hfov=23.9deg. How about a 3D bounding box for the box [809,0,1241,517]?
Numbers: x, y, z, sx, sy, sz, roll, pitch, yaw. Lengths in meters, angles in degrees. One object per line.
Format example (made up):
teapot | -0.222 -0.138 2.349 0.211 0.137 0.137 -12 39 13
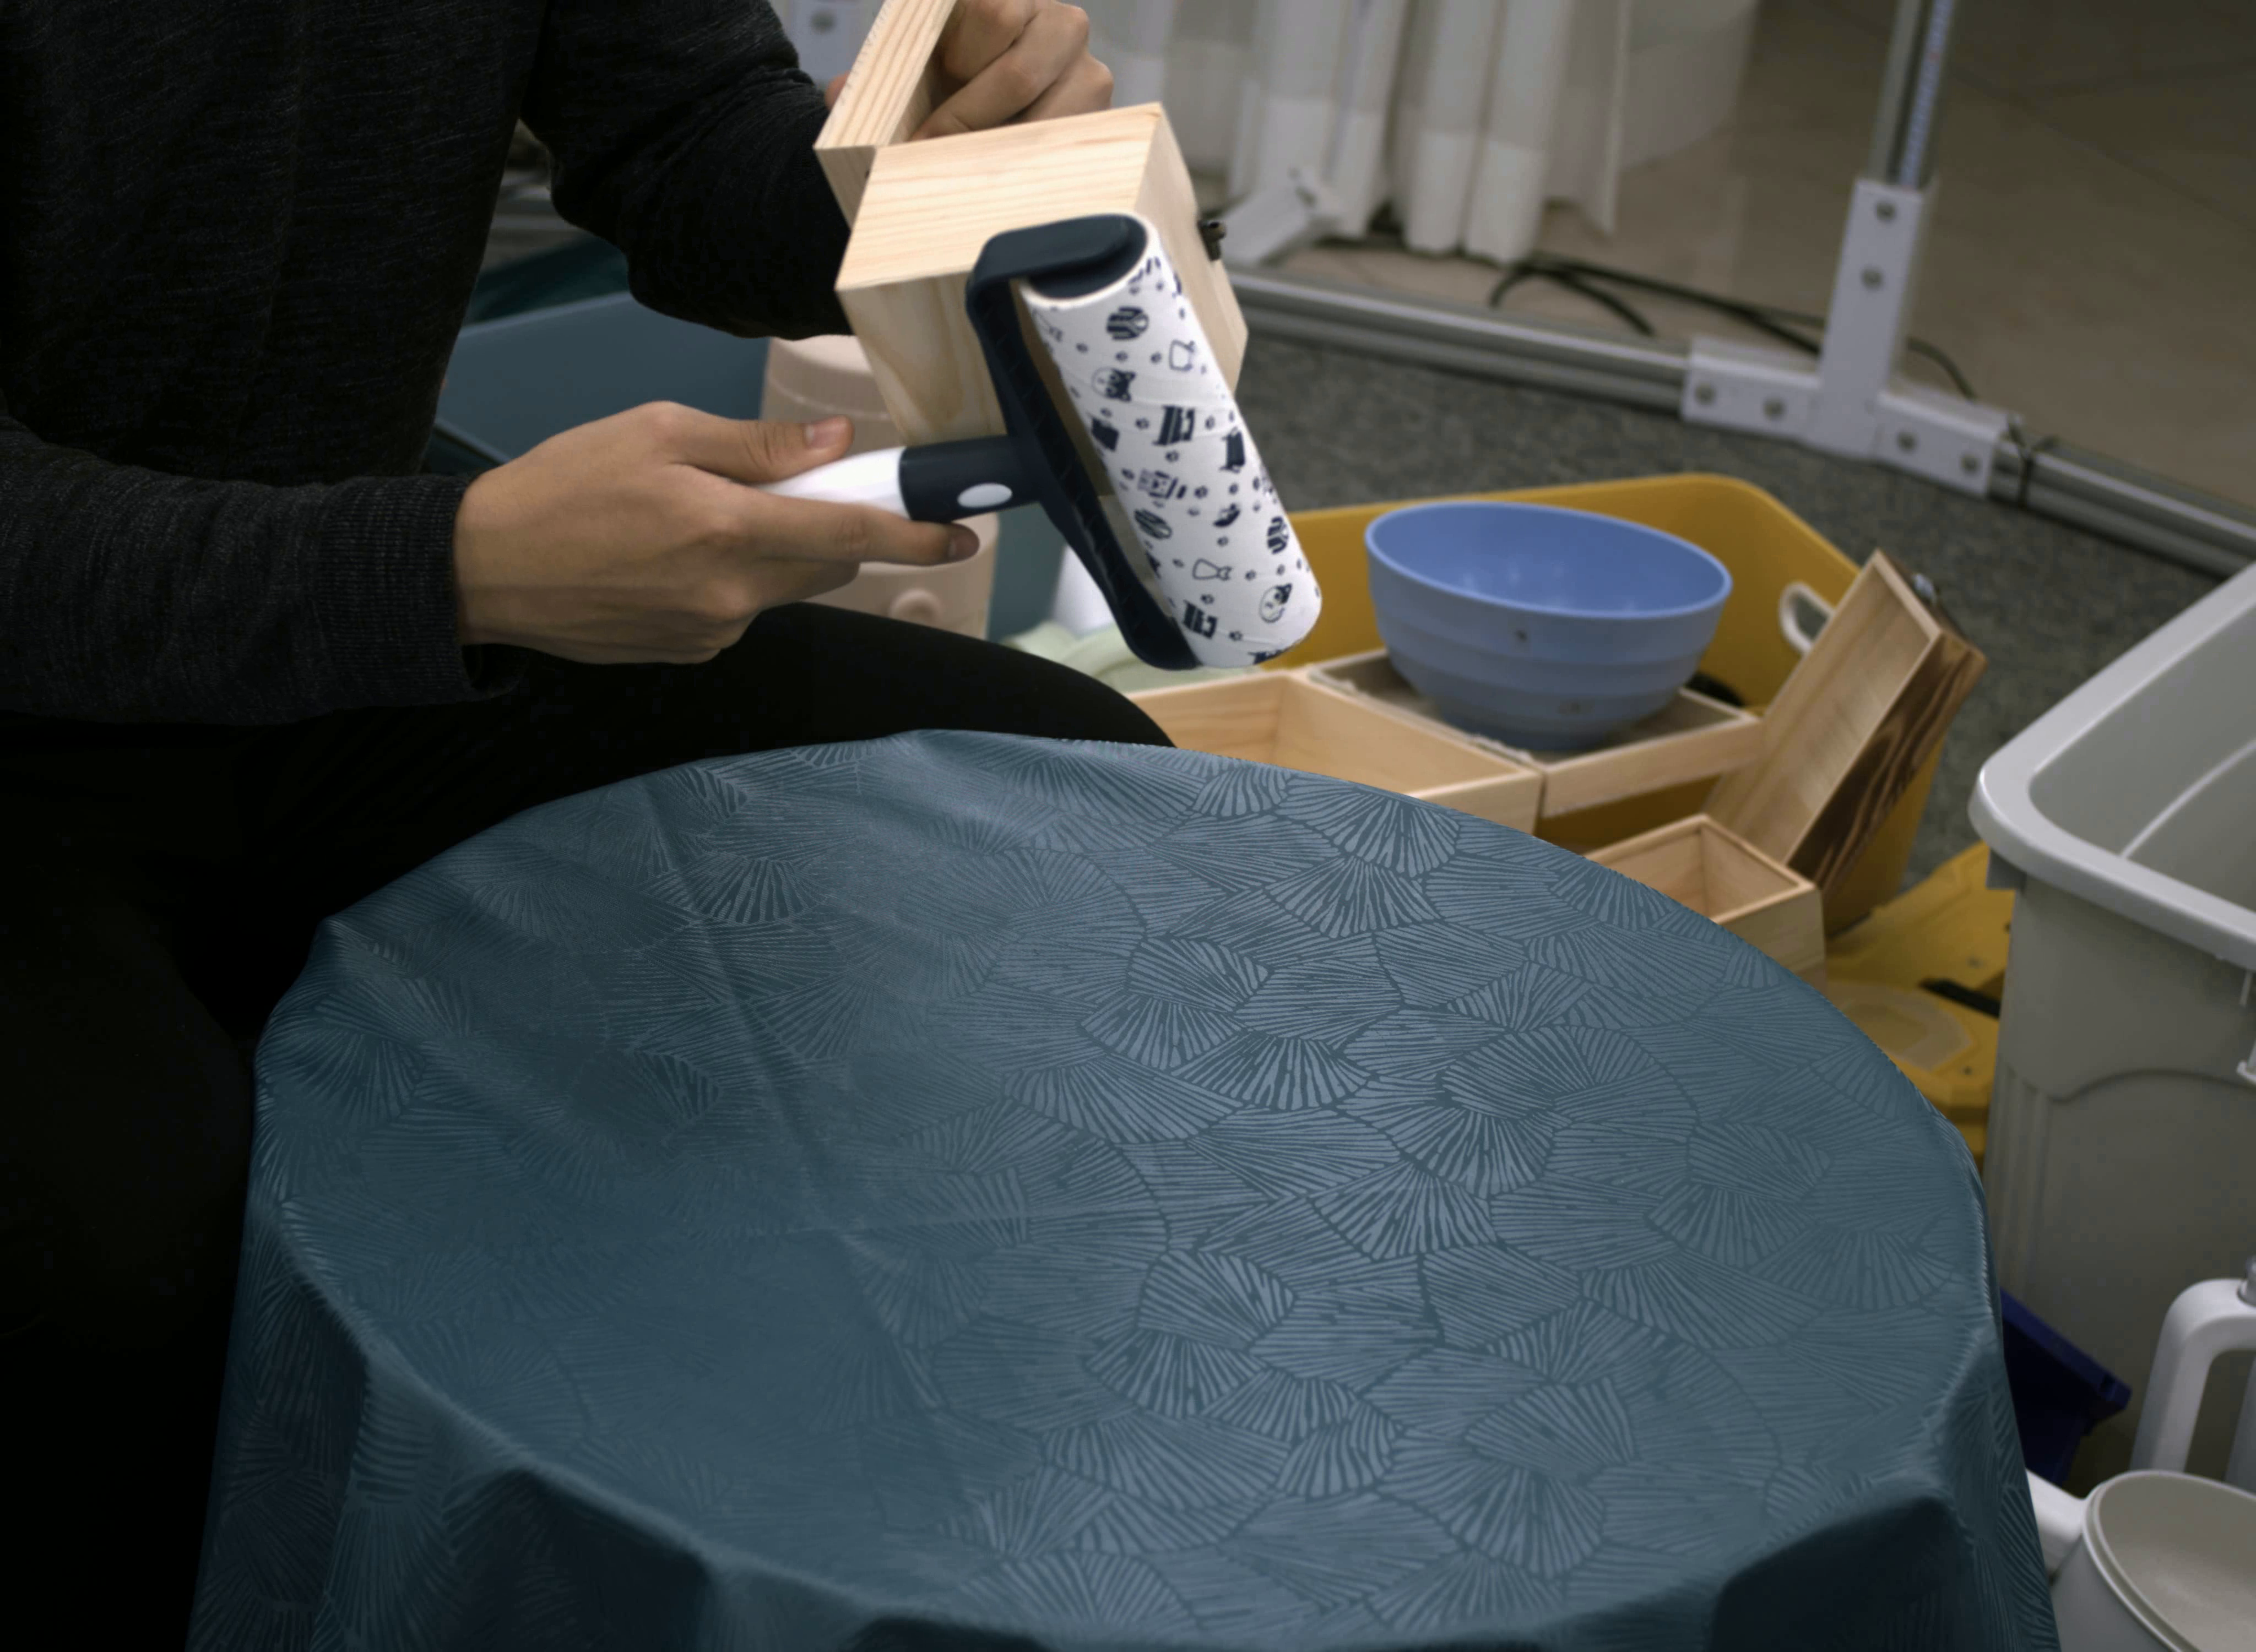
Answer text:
box | -0.030 -0.206 1.810 0.134 0.102 0.185 -7 41 19

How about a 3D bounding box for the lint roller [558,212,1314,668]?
lint roller | -0.079 -0.107 1.756 0.247 0.175 0.051 -11 41 21
